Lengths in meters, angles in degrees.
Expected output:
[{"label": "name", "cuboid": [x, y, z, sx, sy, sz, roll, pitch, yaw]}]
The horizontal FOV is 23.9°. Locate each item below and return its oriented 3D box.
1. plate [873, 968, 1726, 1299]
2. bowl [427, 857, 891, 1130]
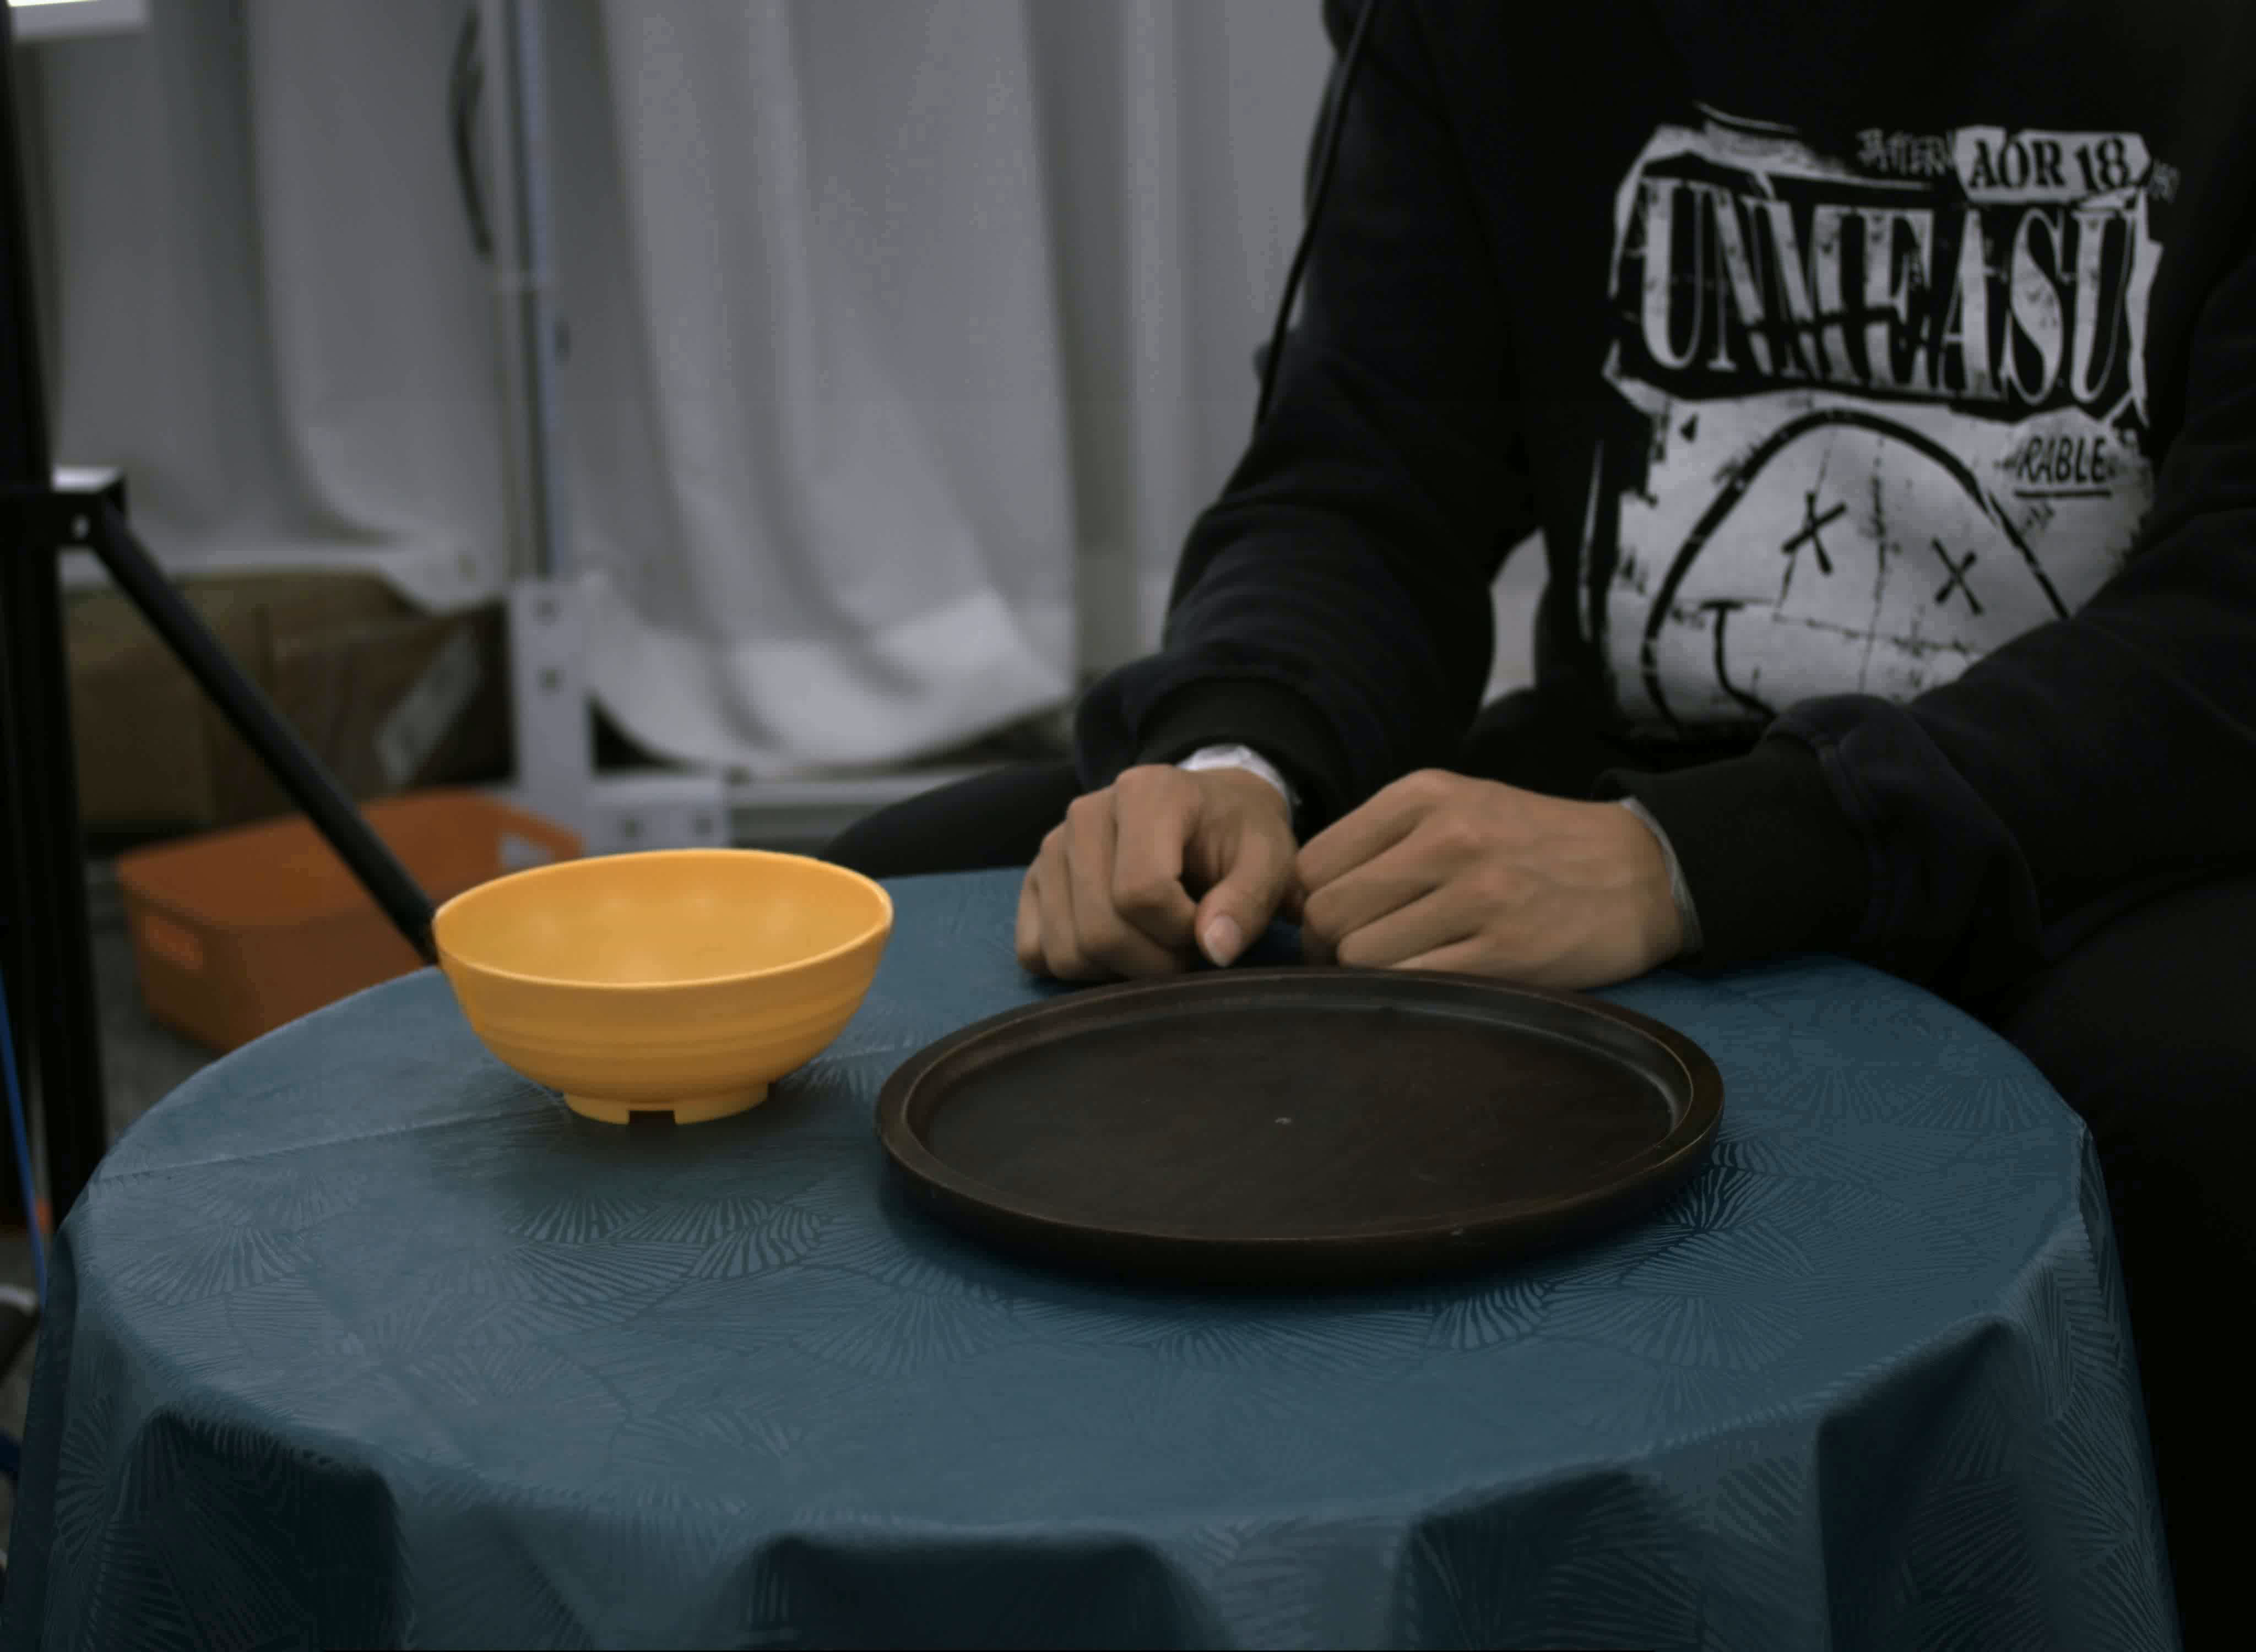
[{"label": "plate", "cuboid": [0.051, 0.089, 1.575, 0.253, 0.029, 0.256, -4, 14, 0]}, {"label": "bowl", "cuboid": [-0.146, 0.057, 1.662, 0.144, 0.060, 0.146, 0, 15, -1]}]
